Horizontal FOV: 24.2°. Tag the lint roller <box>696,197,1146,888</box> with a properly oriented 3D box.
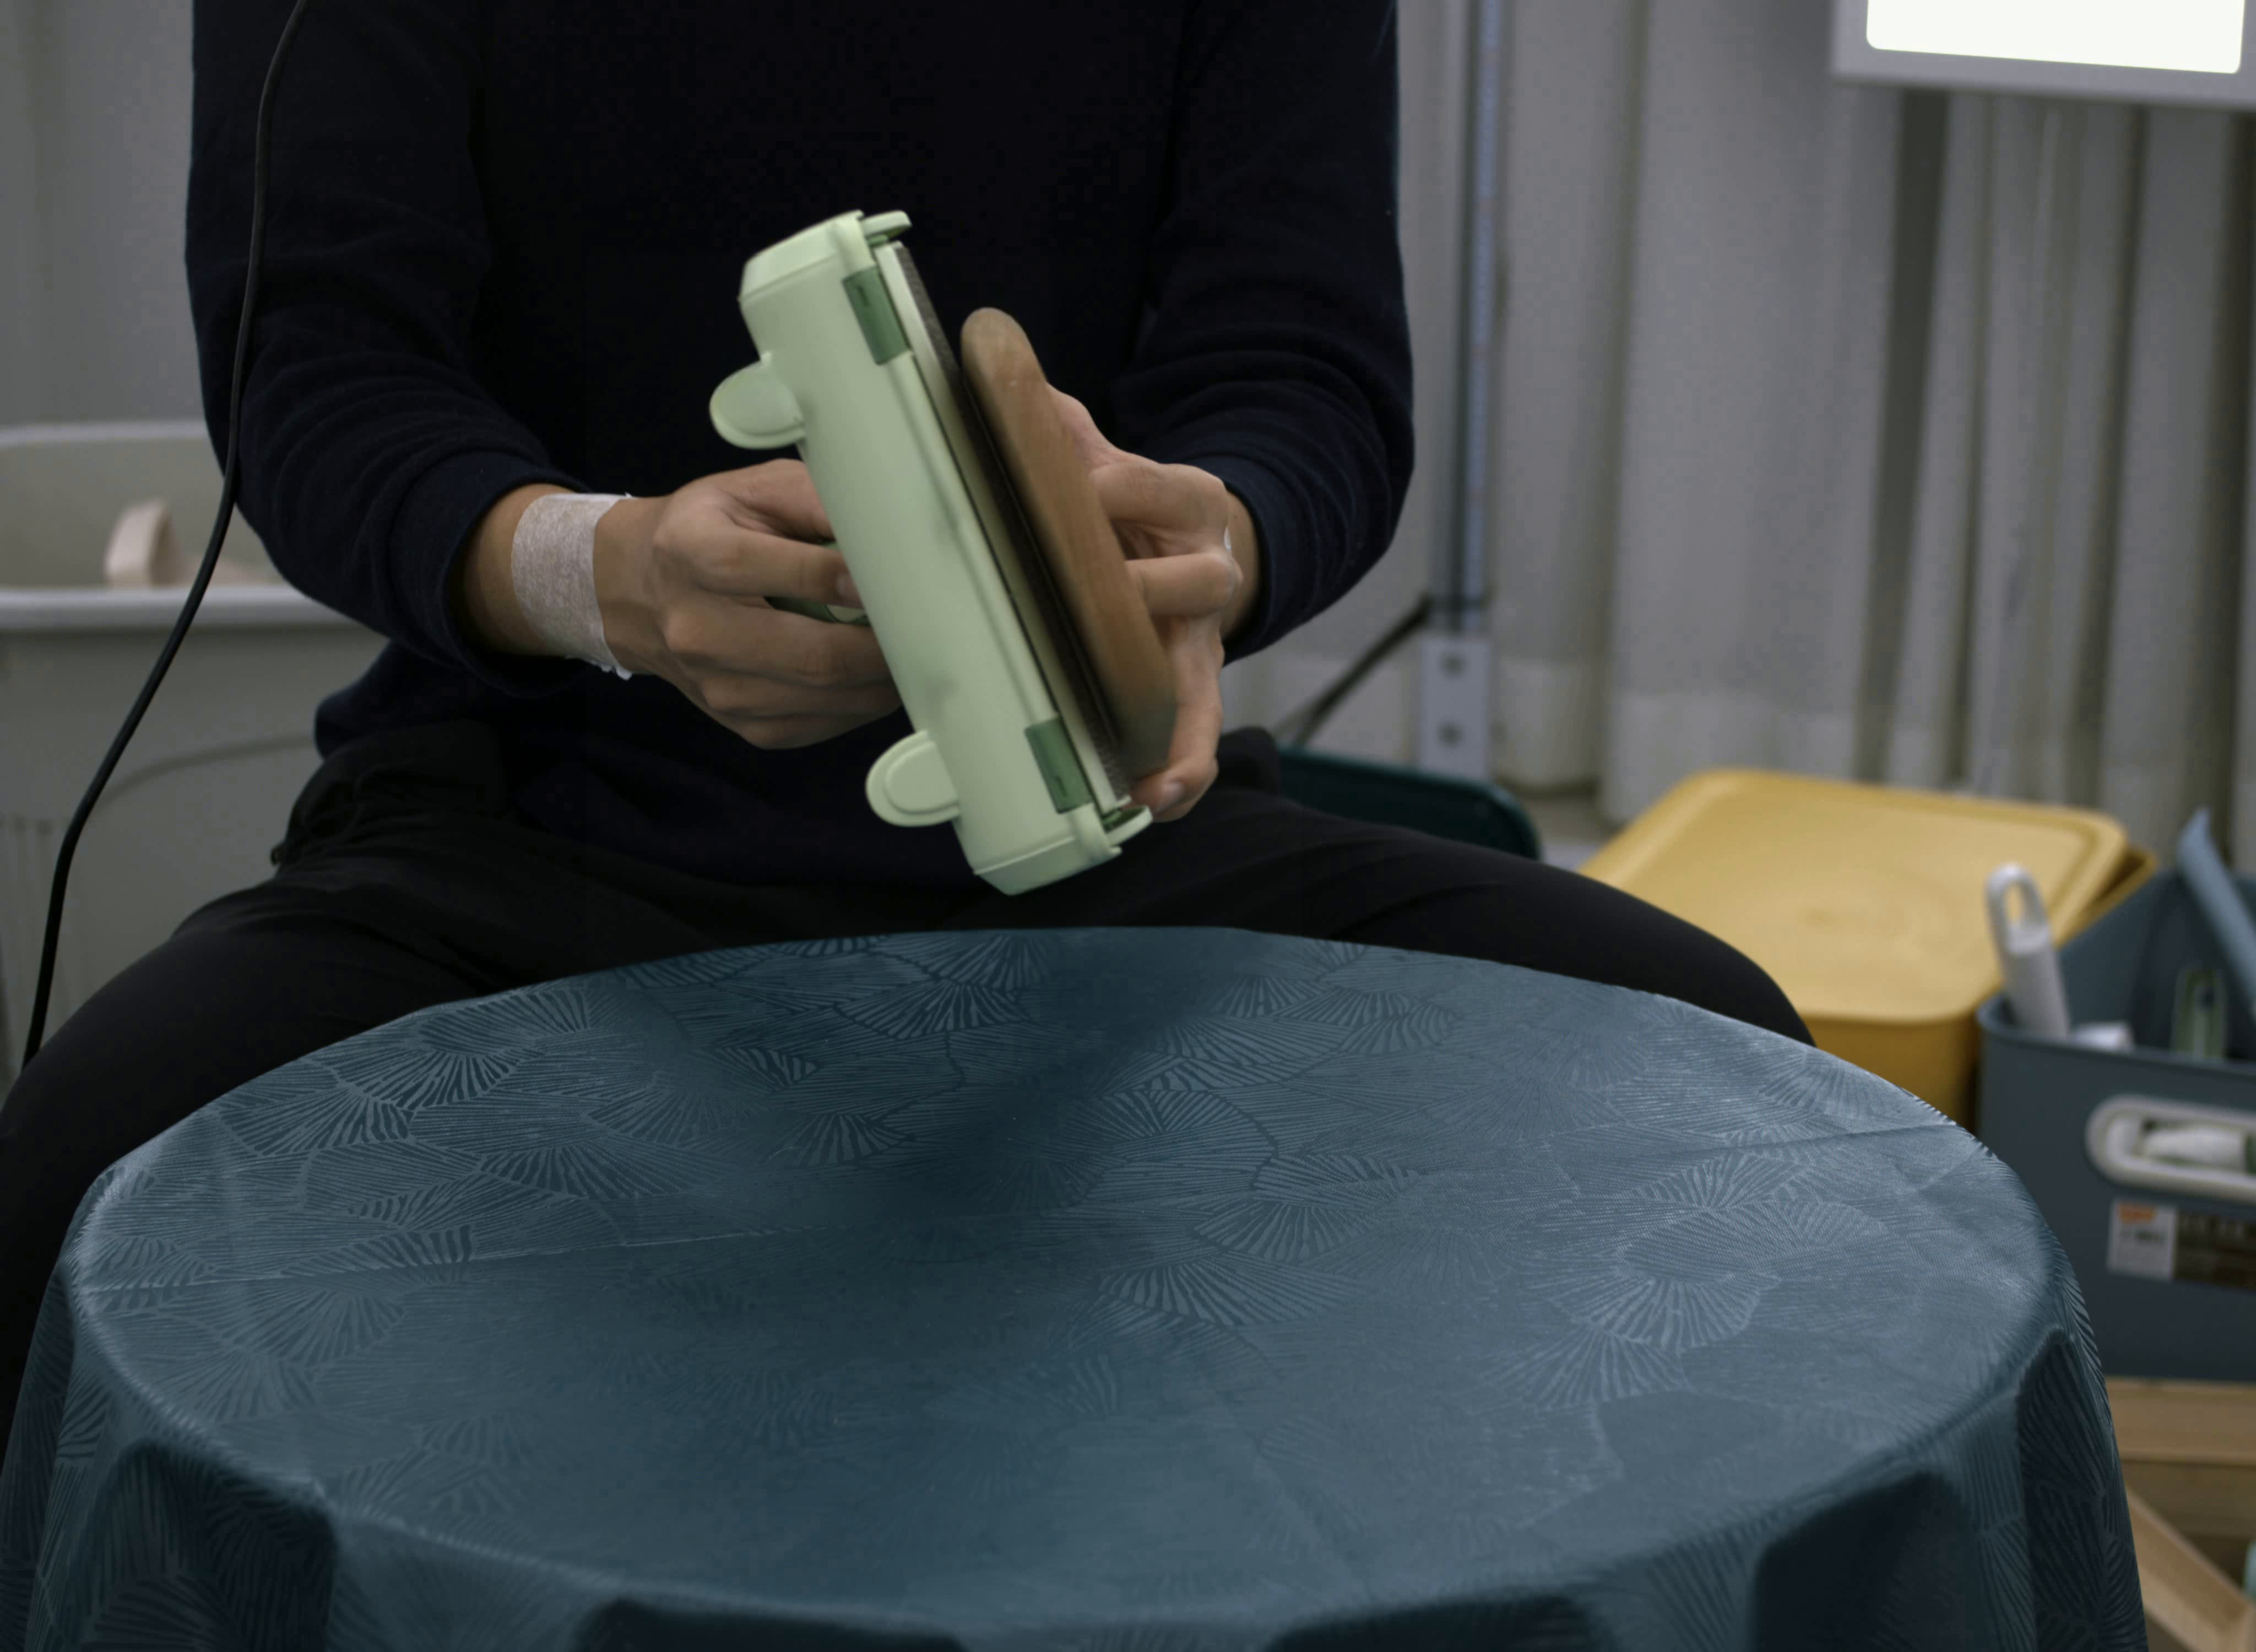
[{"bbox_3d":[-0.088,-0.067,1.526,0.082,0.199,0.182,-25,3,-34],"label":"lint roller"}]

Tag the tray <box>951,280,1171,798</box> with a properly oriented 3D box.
[{"bbox_3d":[-0.020,-0.078,1.540,0.023,0.130,0.251,-20,-6,-3],"label":"tray"}]
